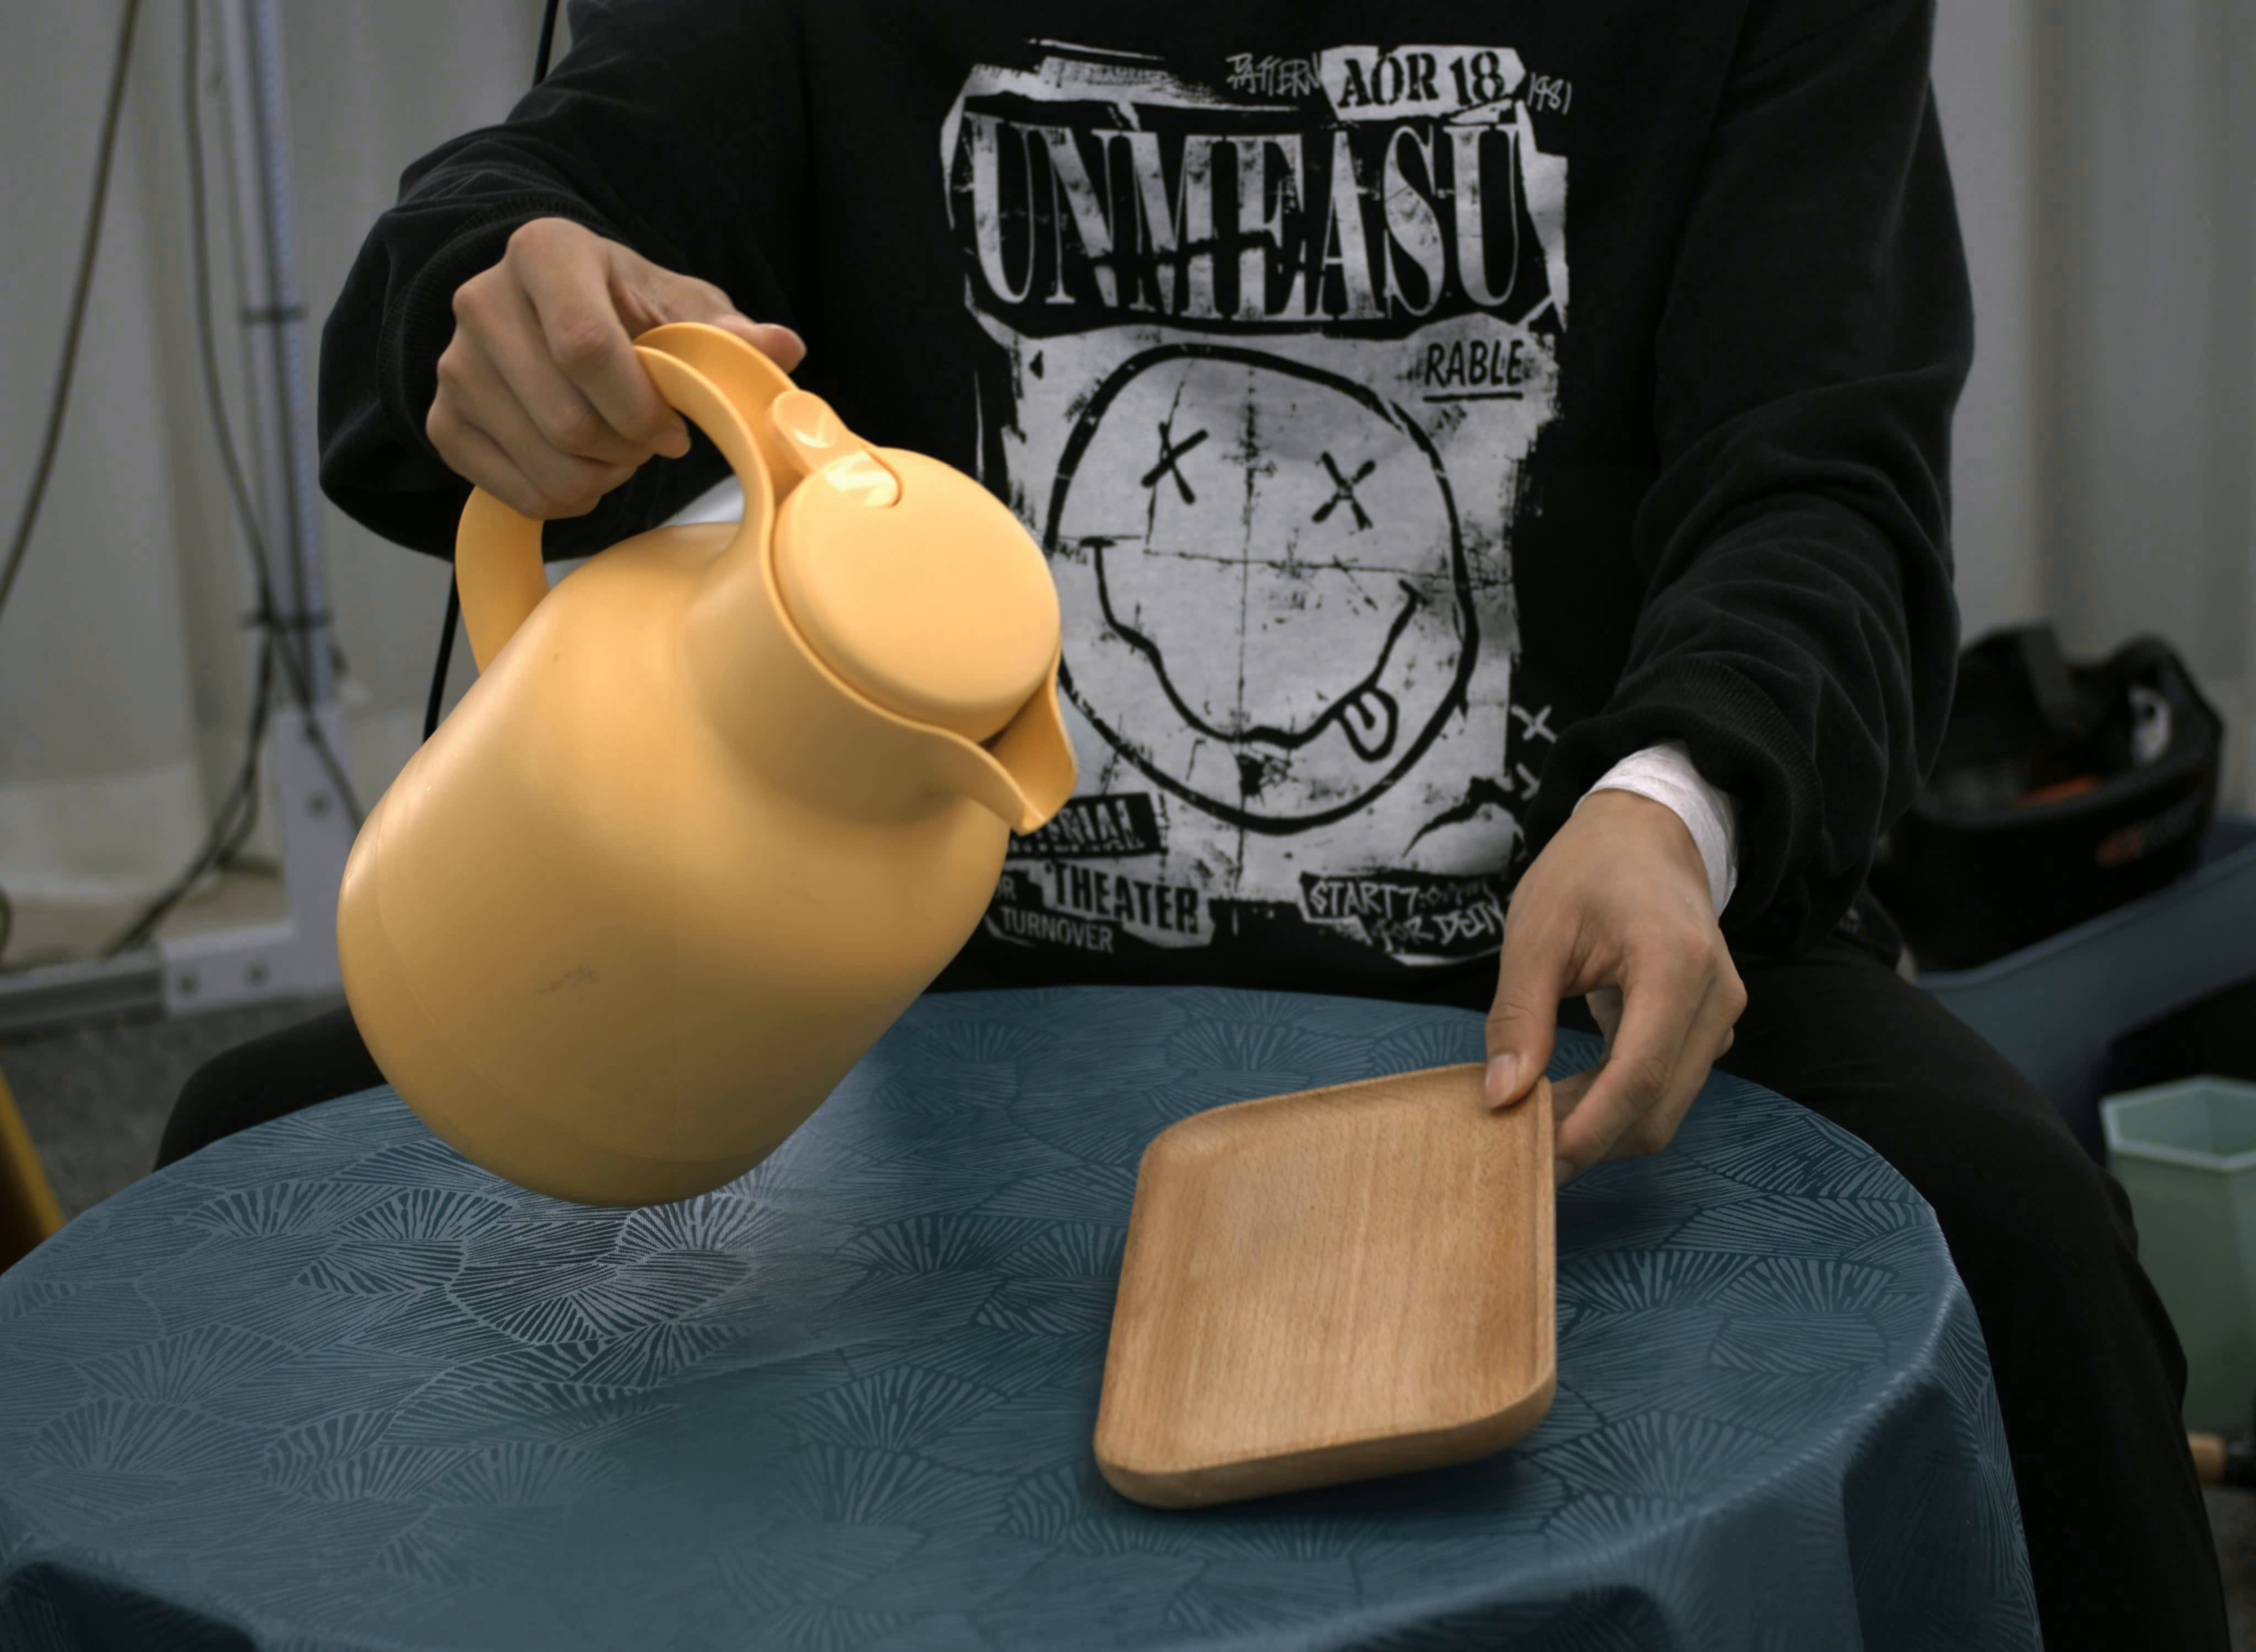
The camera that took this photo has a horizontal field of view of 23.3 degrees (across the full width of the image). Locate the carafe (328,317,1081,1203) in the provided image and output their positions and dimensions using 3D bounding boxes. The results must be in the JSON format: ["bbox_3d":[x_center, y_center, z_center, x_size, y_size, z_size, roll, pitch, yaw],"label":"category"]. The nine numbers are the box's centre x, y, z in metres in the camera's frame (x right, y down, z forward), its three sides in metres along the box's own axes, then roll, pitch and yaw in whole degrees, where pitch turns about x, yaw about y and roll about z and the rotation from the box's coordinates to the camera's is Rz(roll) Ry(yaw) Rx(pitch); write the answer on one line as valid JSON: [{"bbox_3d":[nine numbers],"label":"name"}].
[{"bbox_3d":[-0.128,-0.024,1.620,0.163,0.204,0.258,-22,-16,-46],"label":"carafe"}]

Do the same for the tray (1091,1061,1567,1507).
[{"bbox_3d":[0.061,0.127,1.556,0.130,0.023,0.252,-8,18,9],"label":"tray"}]
